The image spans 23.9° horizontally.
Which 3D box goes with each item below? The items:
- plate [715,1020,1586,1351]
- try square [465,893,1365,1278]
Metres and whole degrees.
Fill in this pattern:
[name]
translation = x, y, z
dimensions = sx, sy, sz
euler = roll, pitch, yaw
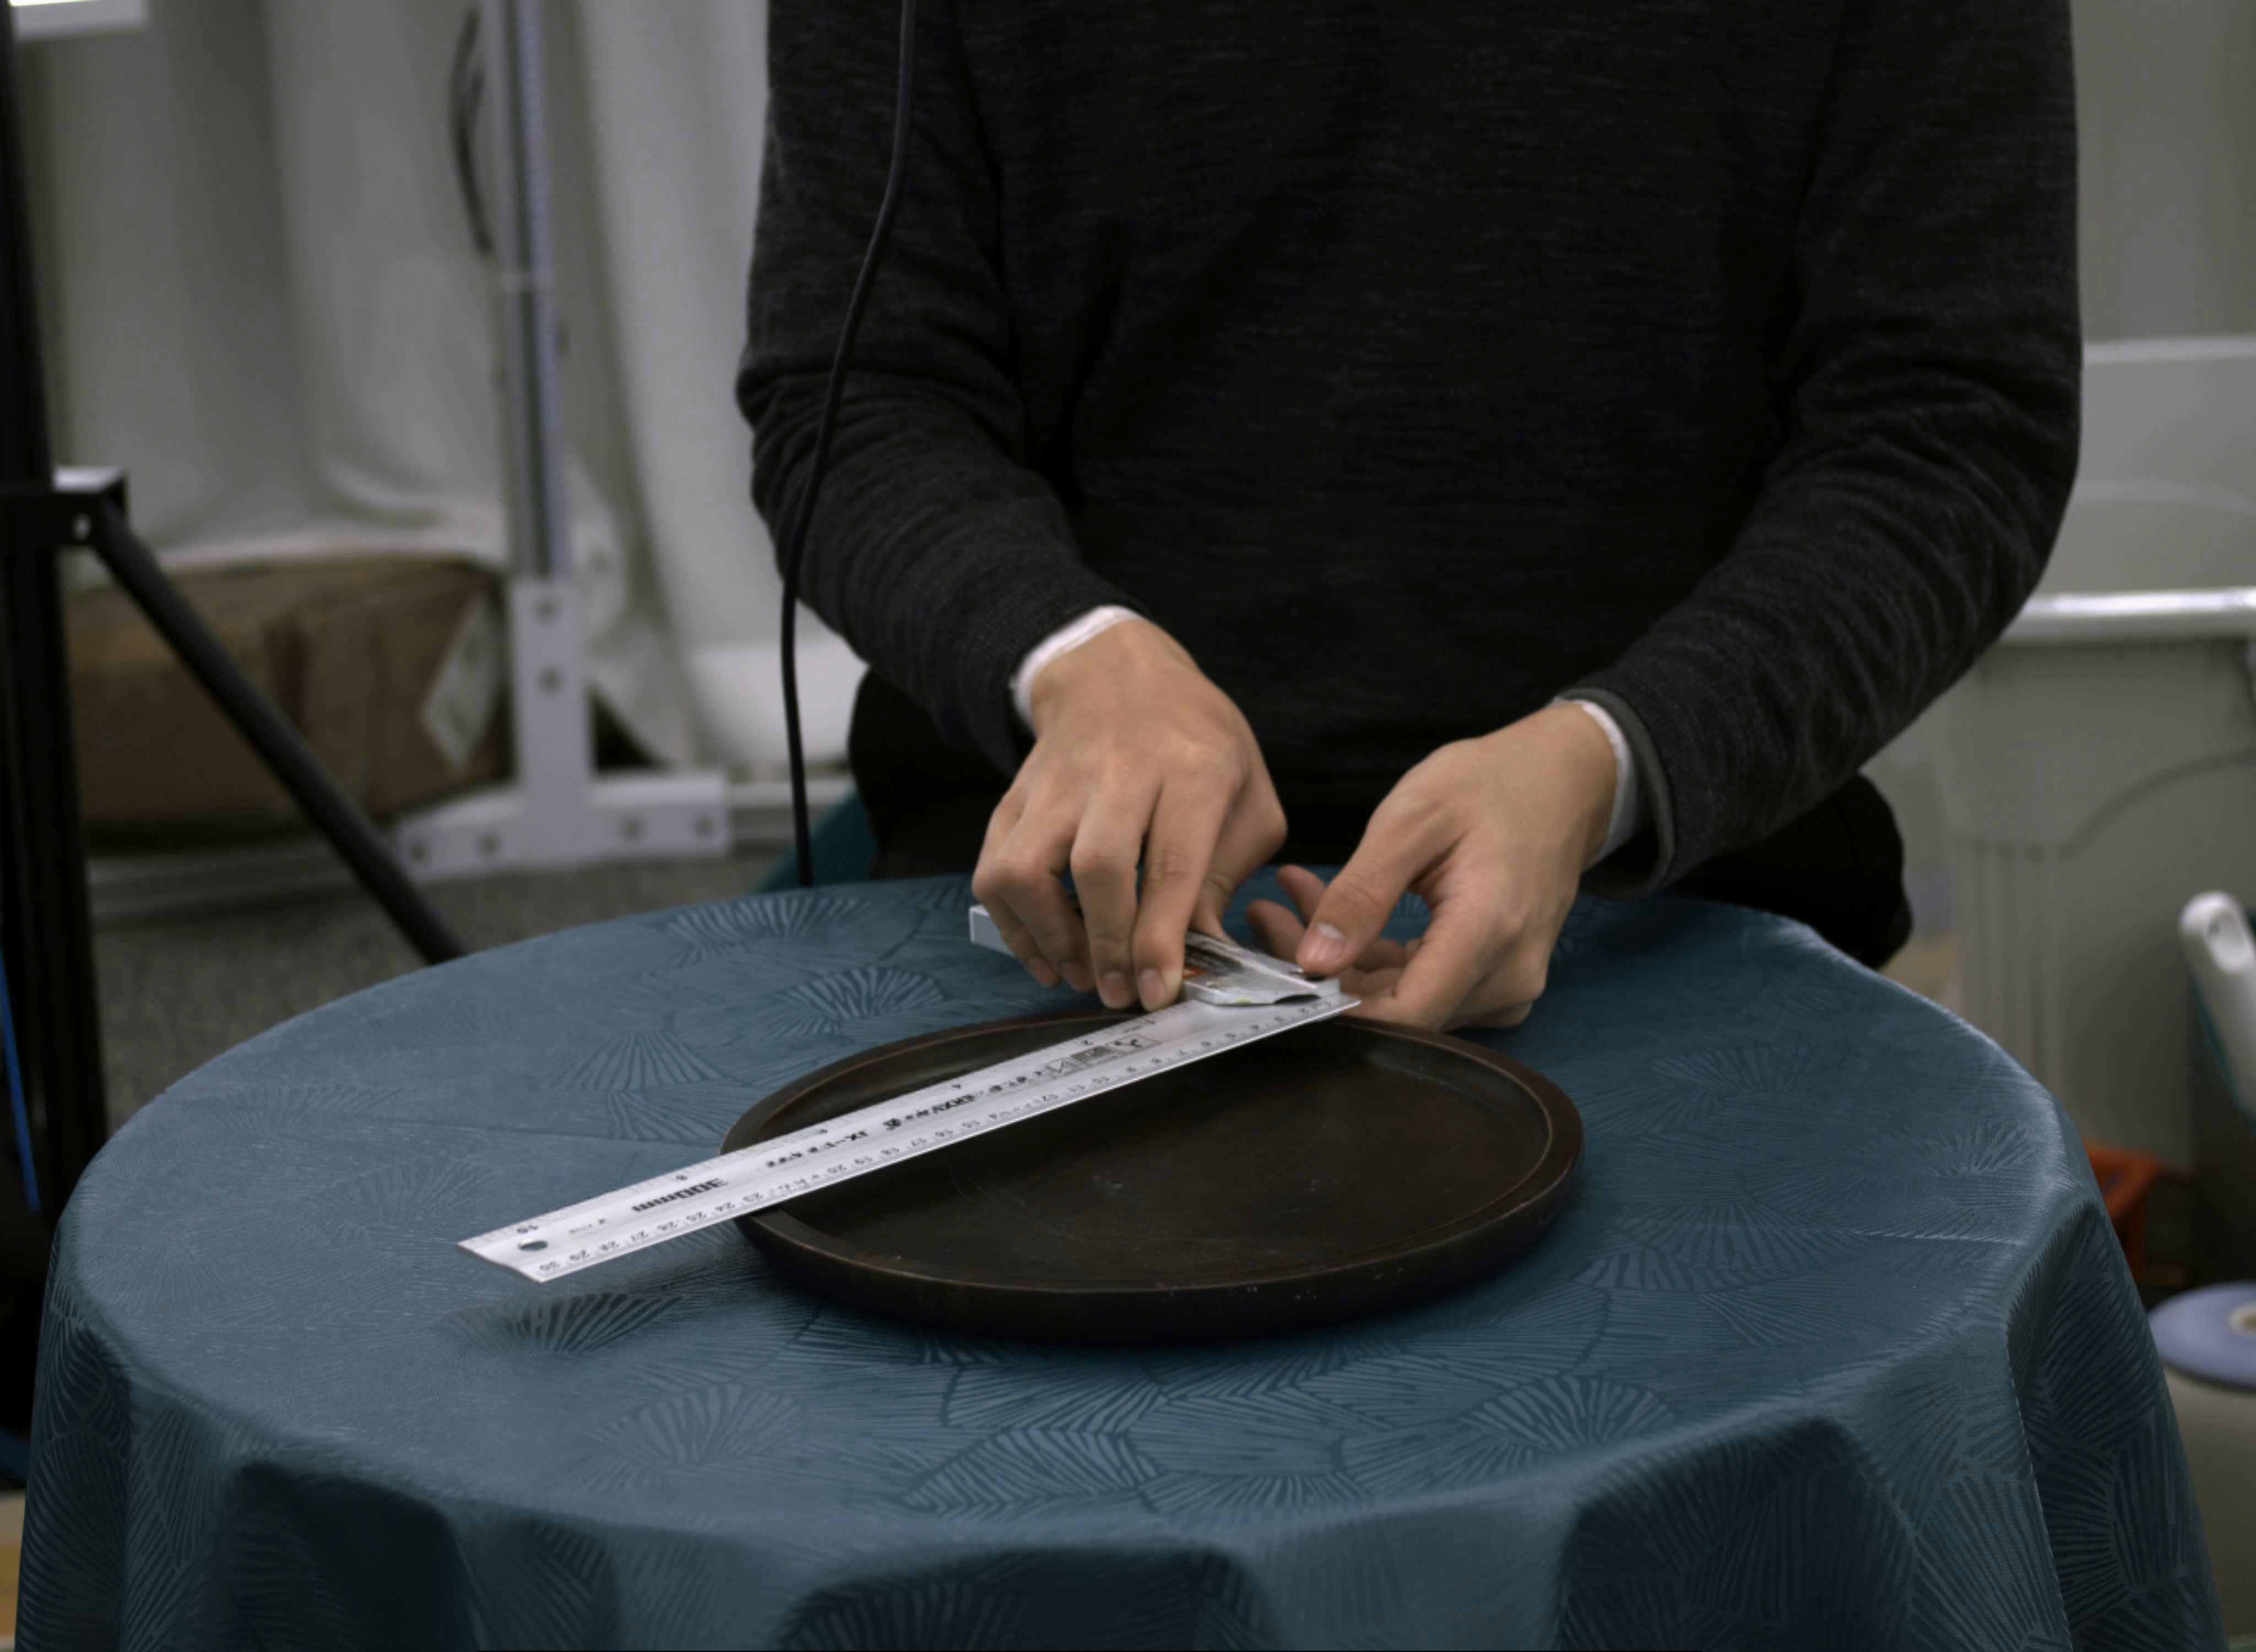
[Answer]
[plate]
translation = 0.007, 0.100, 1.541
dimensions = 0.253, 0.029, 0.256
euler = -3, 17, -1
[try square]
translation = -0.090, 0.075, 1.597
dimensions = 0.306, 0.016, 0.156
euler = -16, 21, -37
